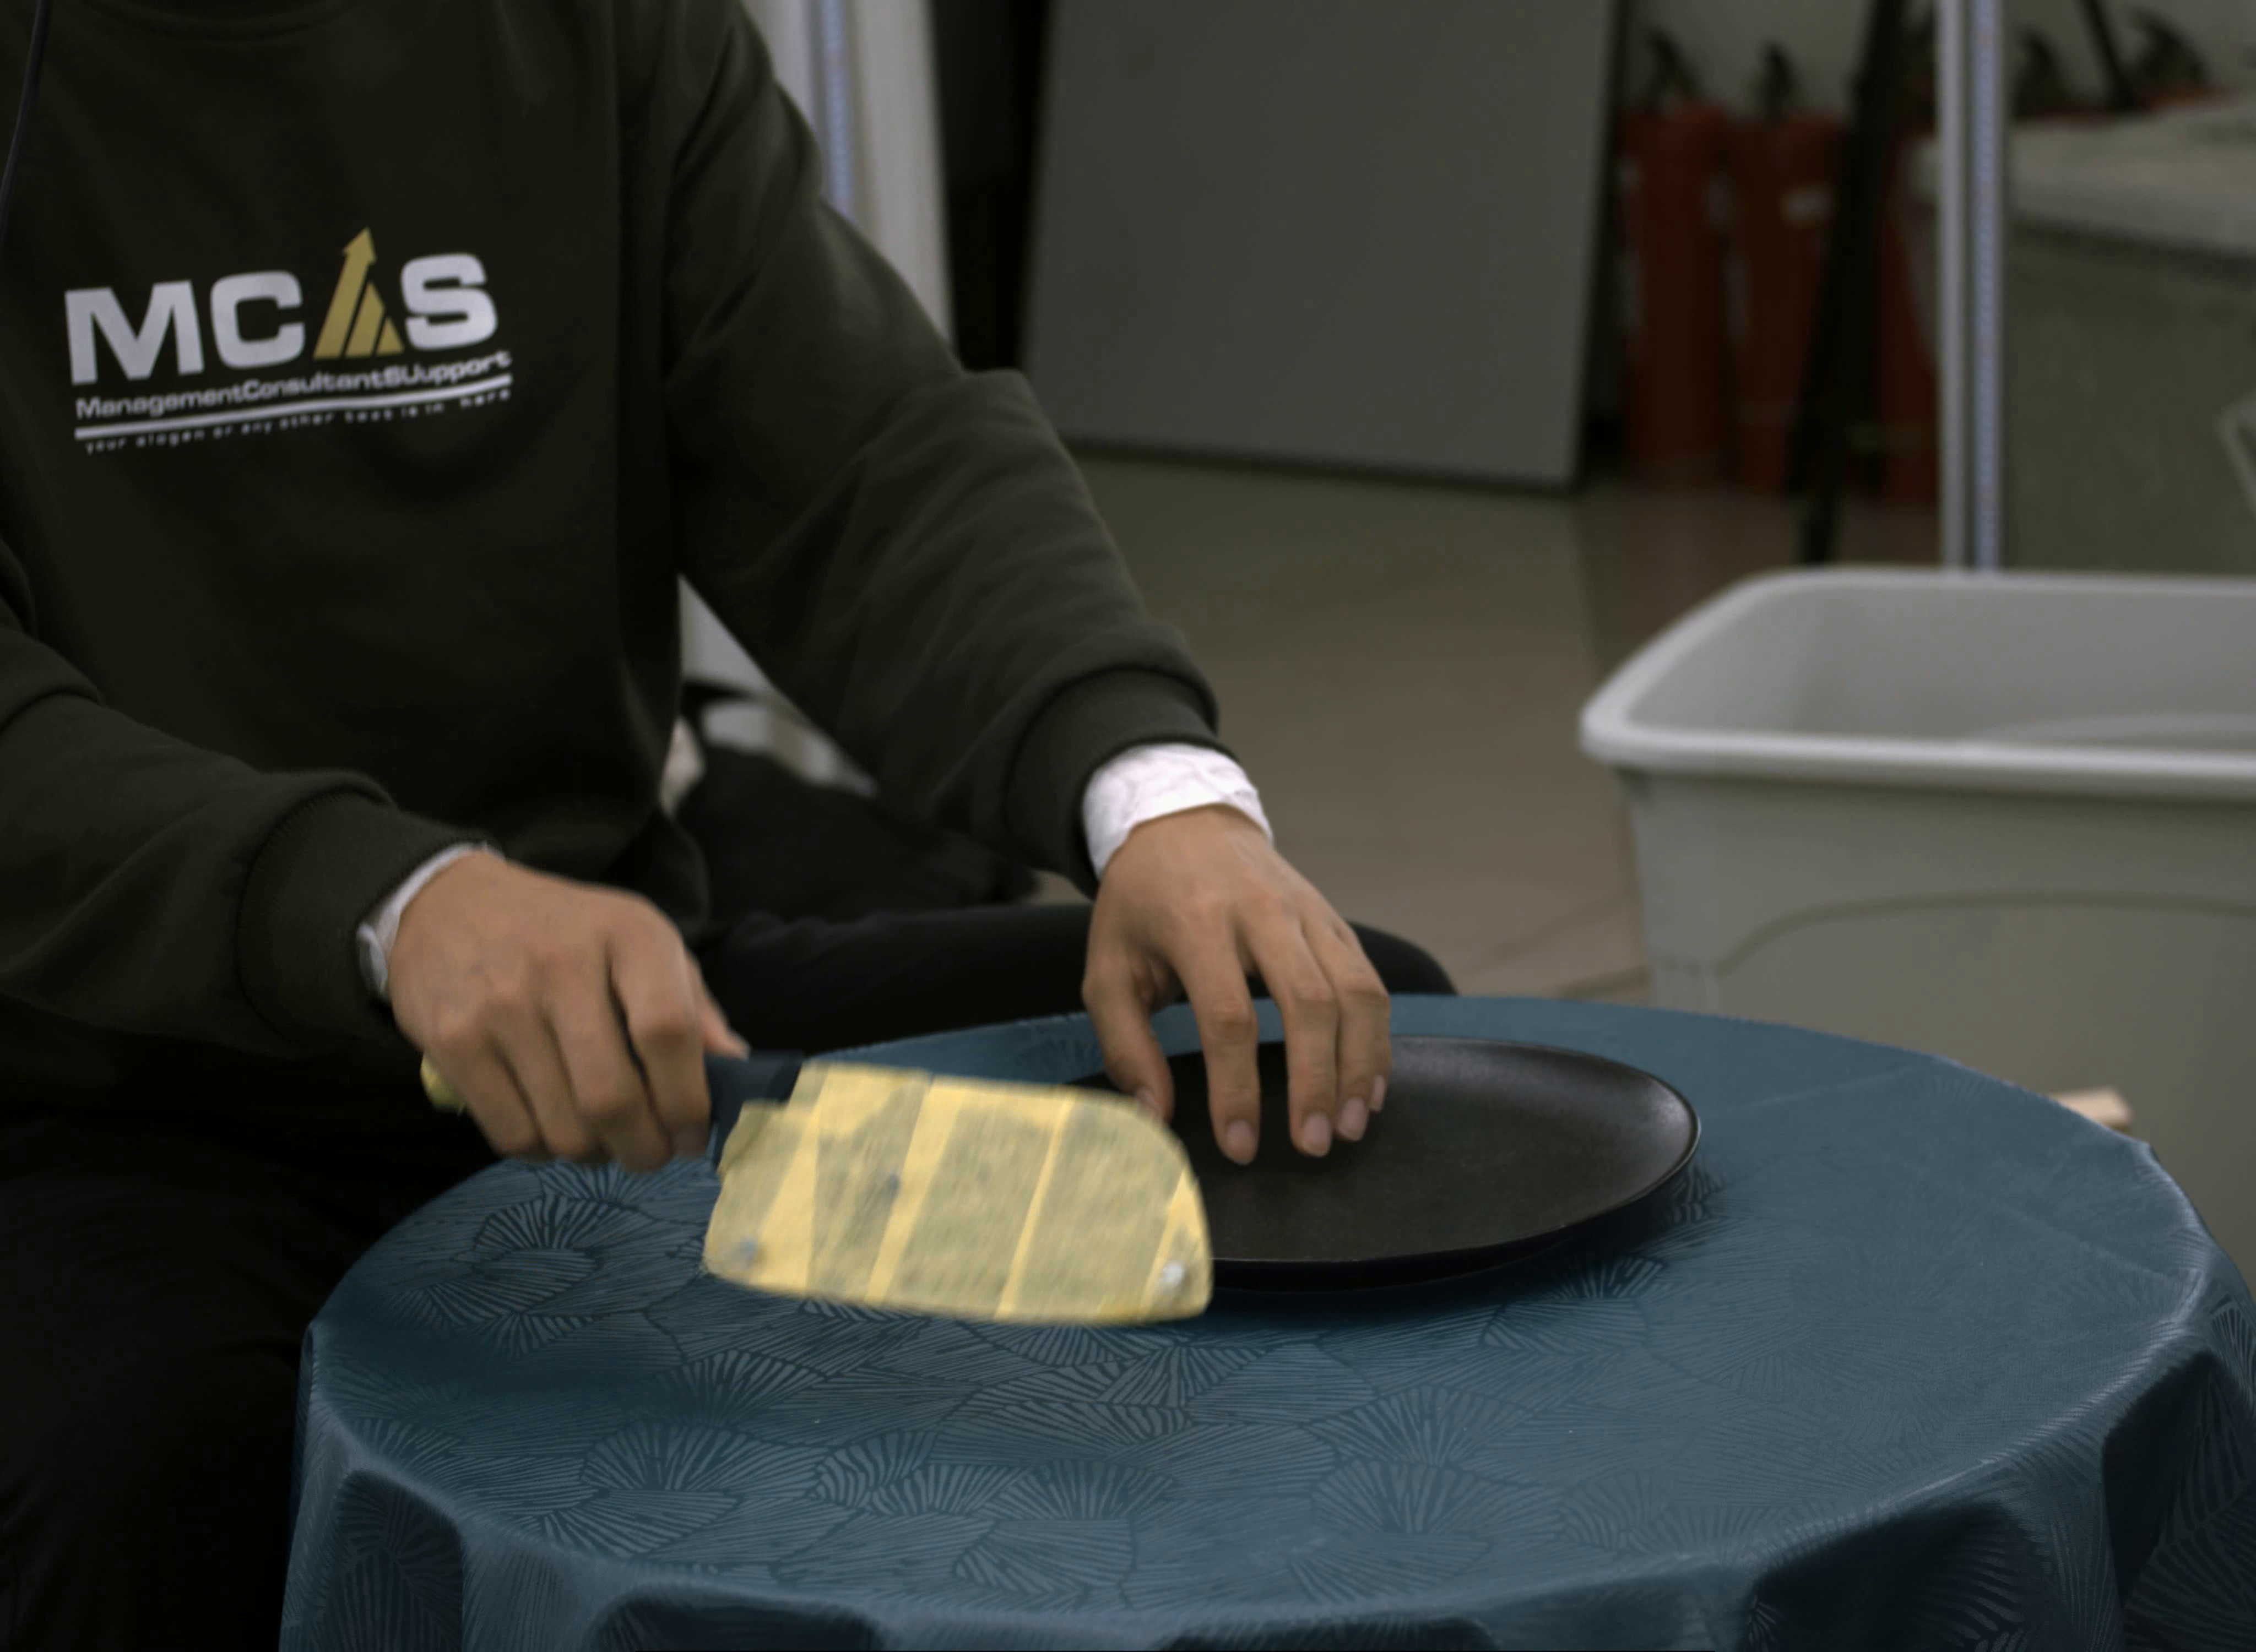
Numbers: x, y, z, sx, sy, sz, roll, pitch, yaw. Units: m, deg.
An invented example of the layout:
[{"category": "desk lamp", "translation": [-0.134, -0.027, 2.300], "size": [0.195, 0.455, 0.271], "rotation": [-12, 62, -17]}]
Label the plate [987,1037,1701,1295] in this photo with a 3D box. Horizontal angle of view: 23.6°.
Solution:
[{"category": "plate", "translation": [0.065, 0.112, 1.743], "size": [0.241, 0.024, 0.245], "rotation": [-4, 13, 0]}]

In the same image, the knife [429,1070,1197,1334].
[{"category": "knife", "translation": [-0.099, 0.110, 1.599], "size": [0.291, 0.027, 0.081], "rotation": [6, 61, 35]}]
